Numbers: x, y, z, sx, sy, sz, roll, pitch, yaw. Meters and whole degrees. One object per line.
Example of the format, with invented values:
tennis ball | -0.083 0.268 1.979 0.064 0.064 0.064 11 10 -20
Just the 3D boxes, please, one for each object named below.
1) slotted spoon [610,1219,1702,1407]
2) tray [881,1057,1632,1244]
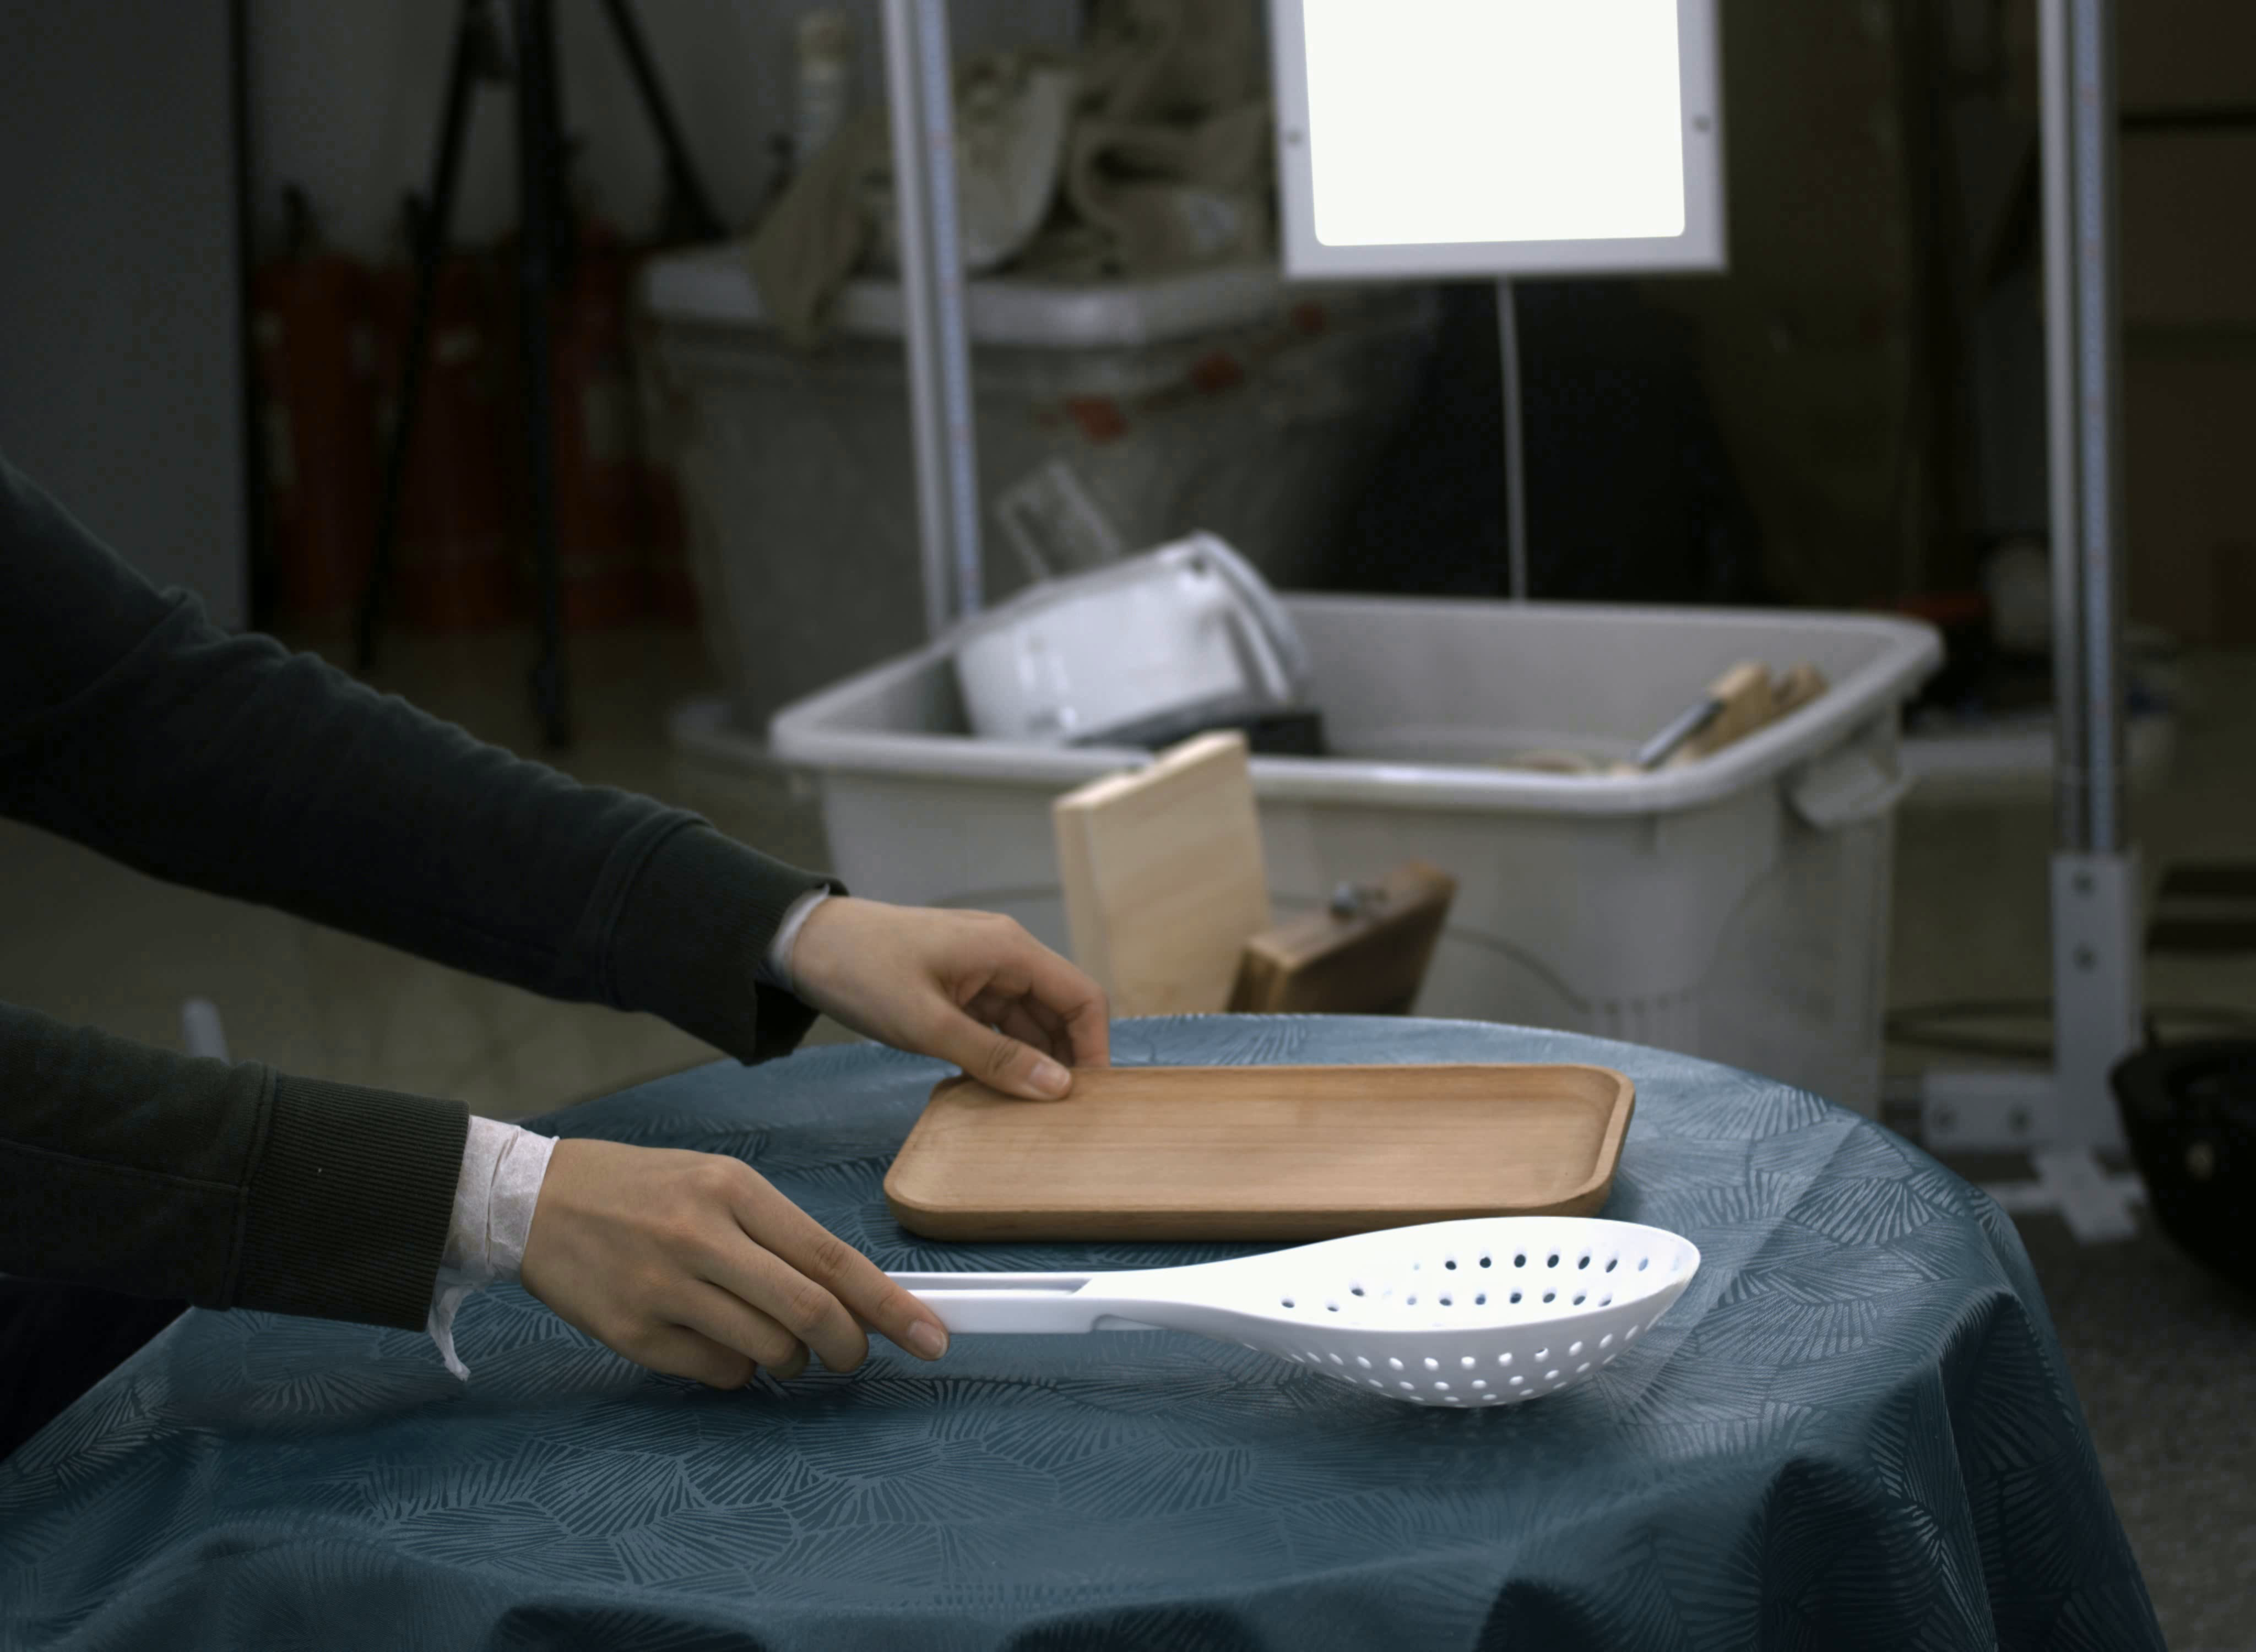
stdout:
slotted spoon | 0.004 0.145 1.698 0.354 0.046 0.134 3 10 19
tray | 0.045 0.112 1.885 0.253 0.023 0.129 -2 18 15
